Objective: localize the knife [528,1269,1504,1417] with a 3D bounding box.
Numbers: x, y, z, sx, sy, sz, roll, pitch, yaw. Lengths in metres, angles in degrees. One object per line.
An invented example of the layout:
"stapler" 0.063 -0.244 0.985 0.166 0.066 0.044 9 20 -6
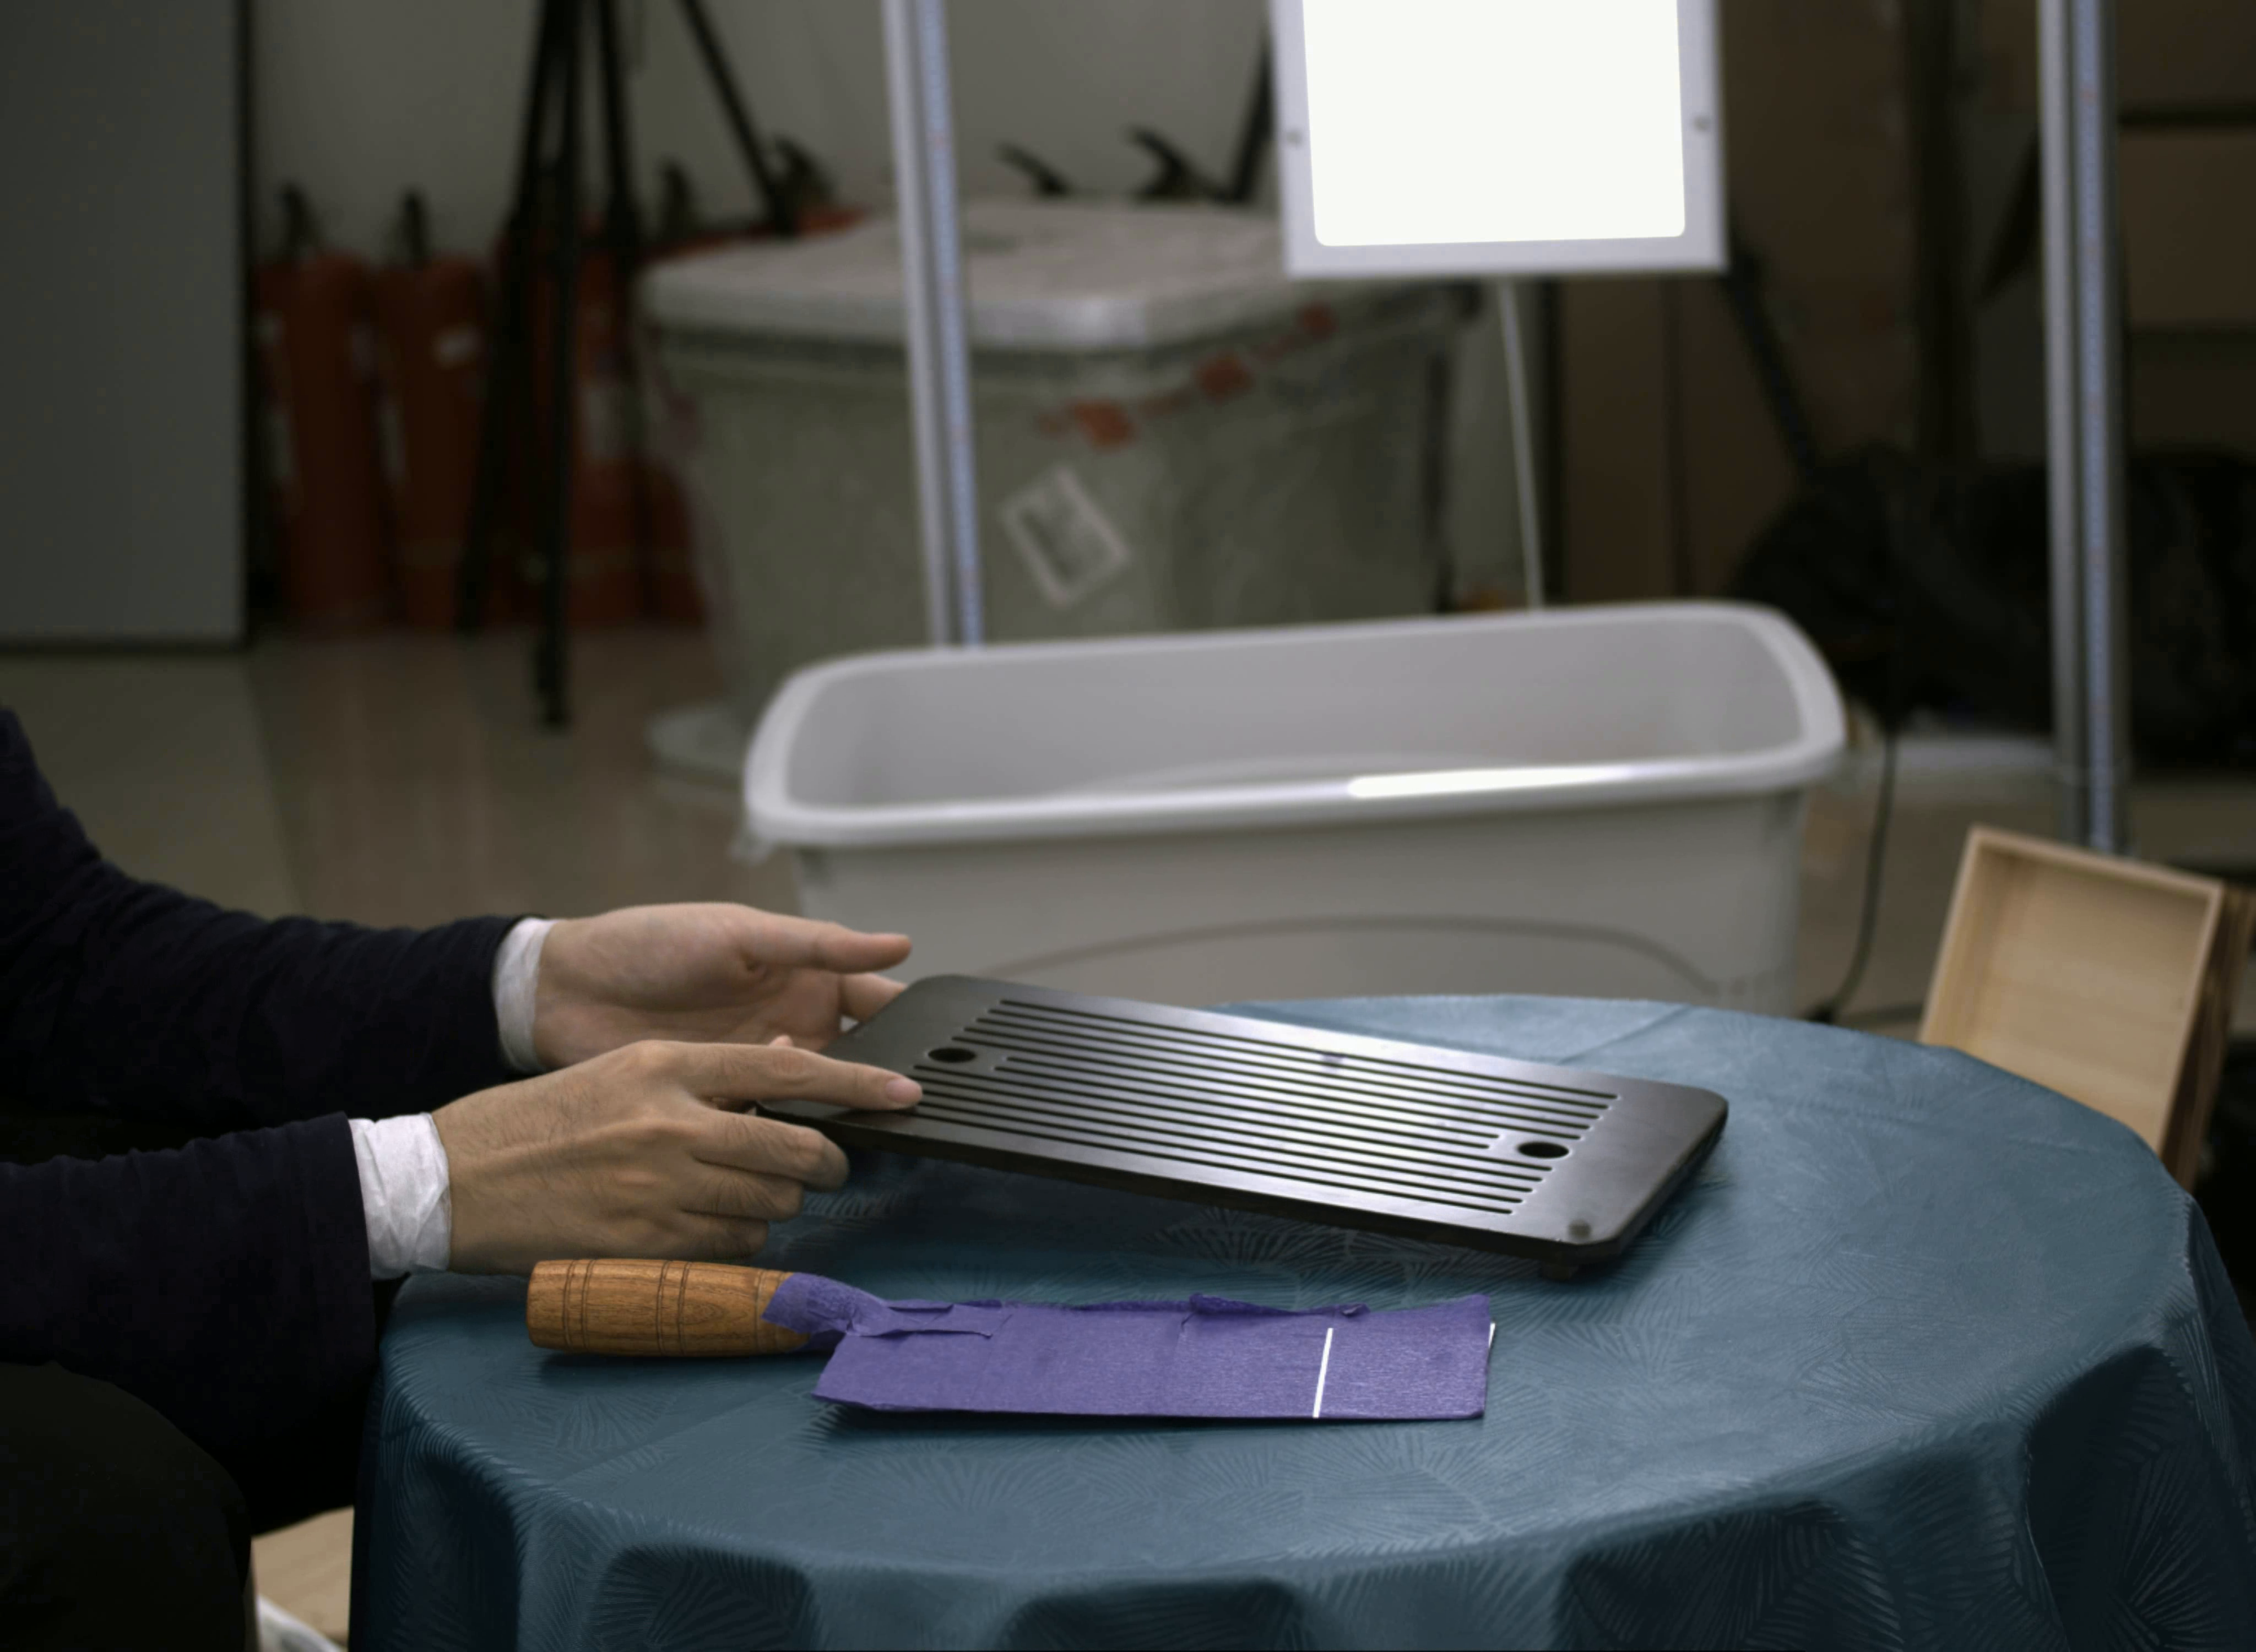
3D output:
"knife" -0.040 0.161 1.721 0.317 0.032 0.103 -2 14 10

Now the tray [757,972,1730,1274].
"tray" 0.041 0.100 1.887 0.310 0.019 0.167 7 17 21
